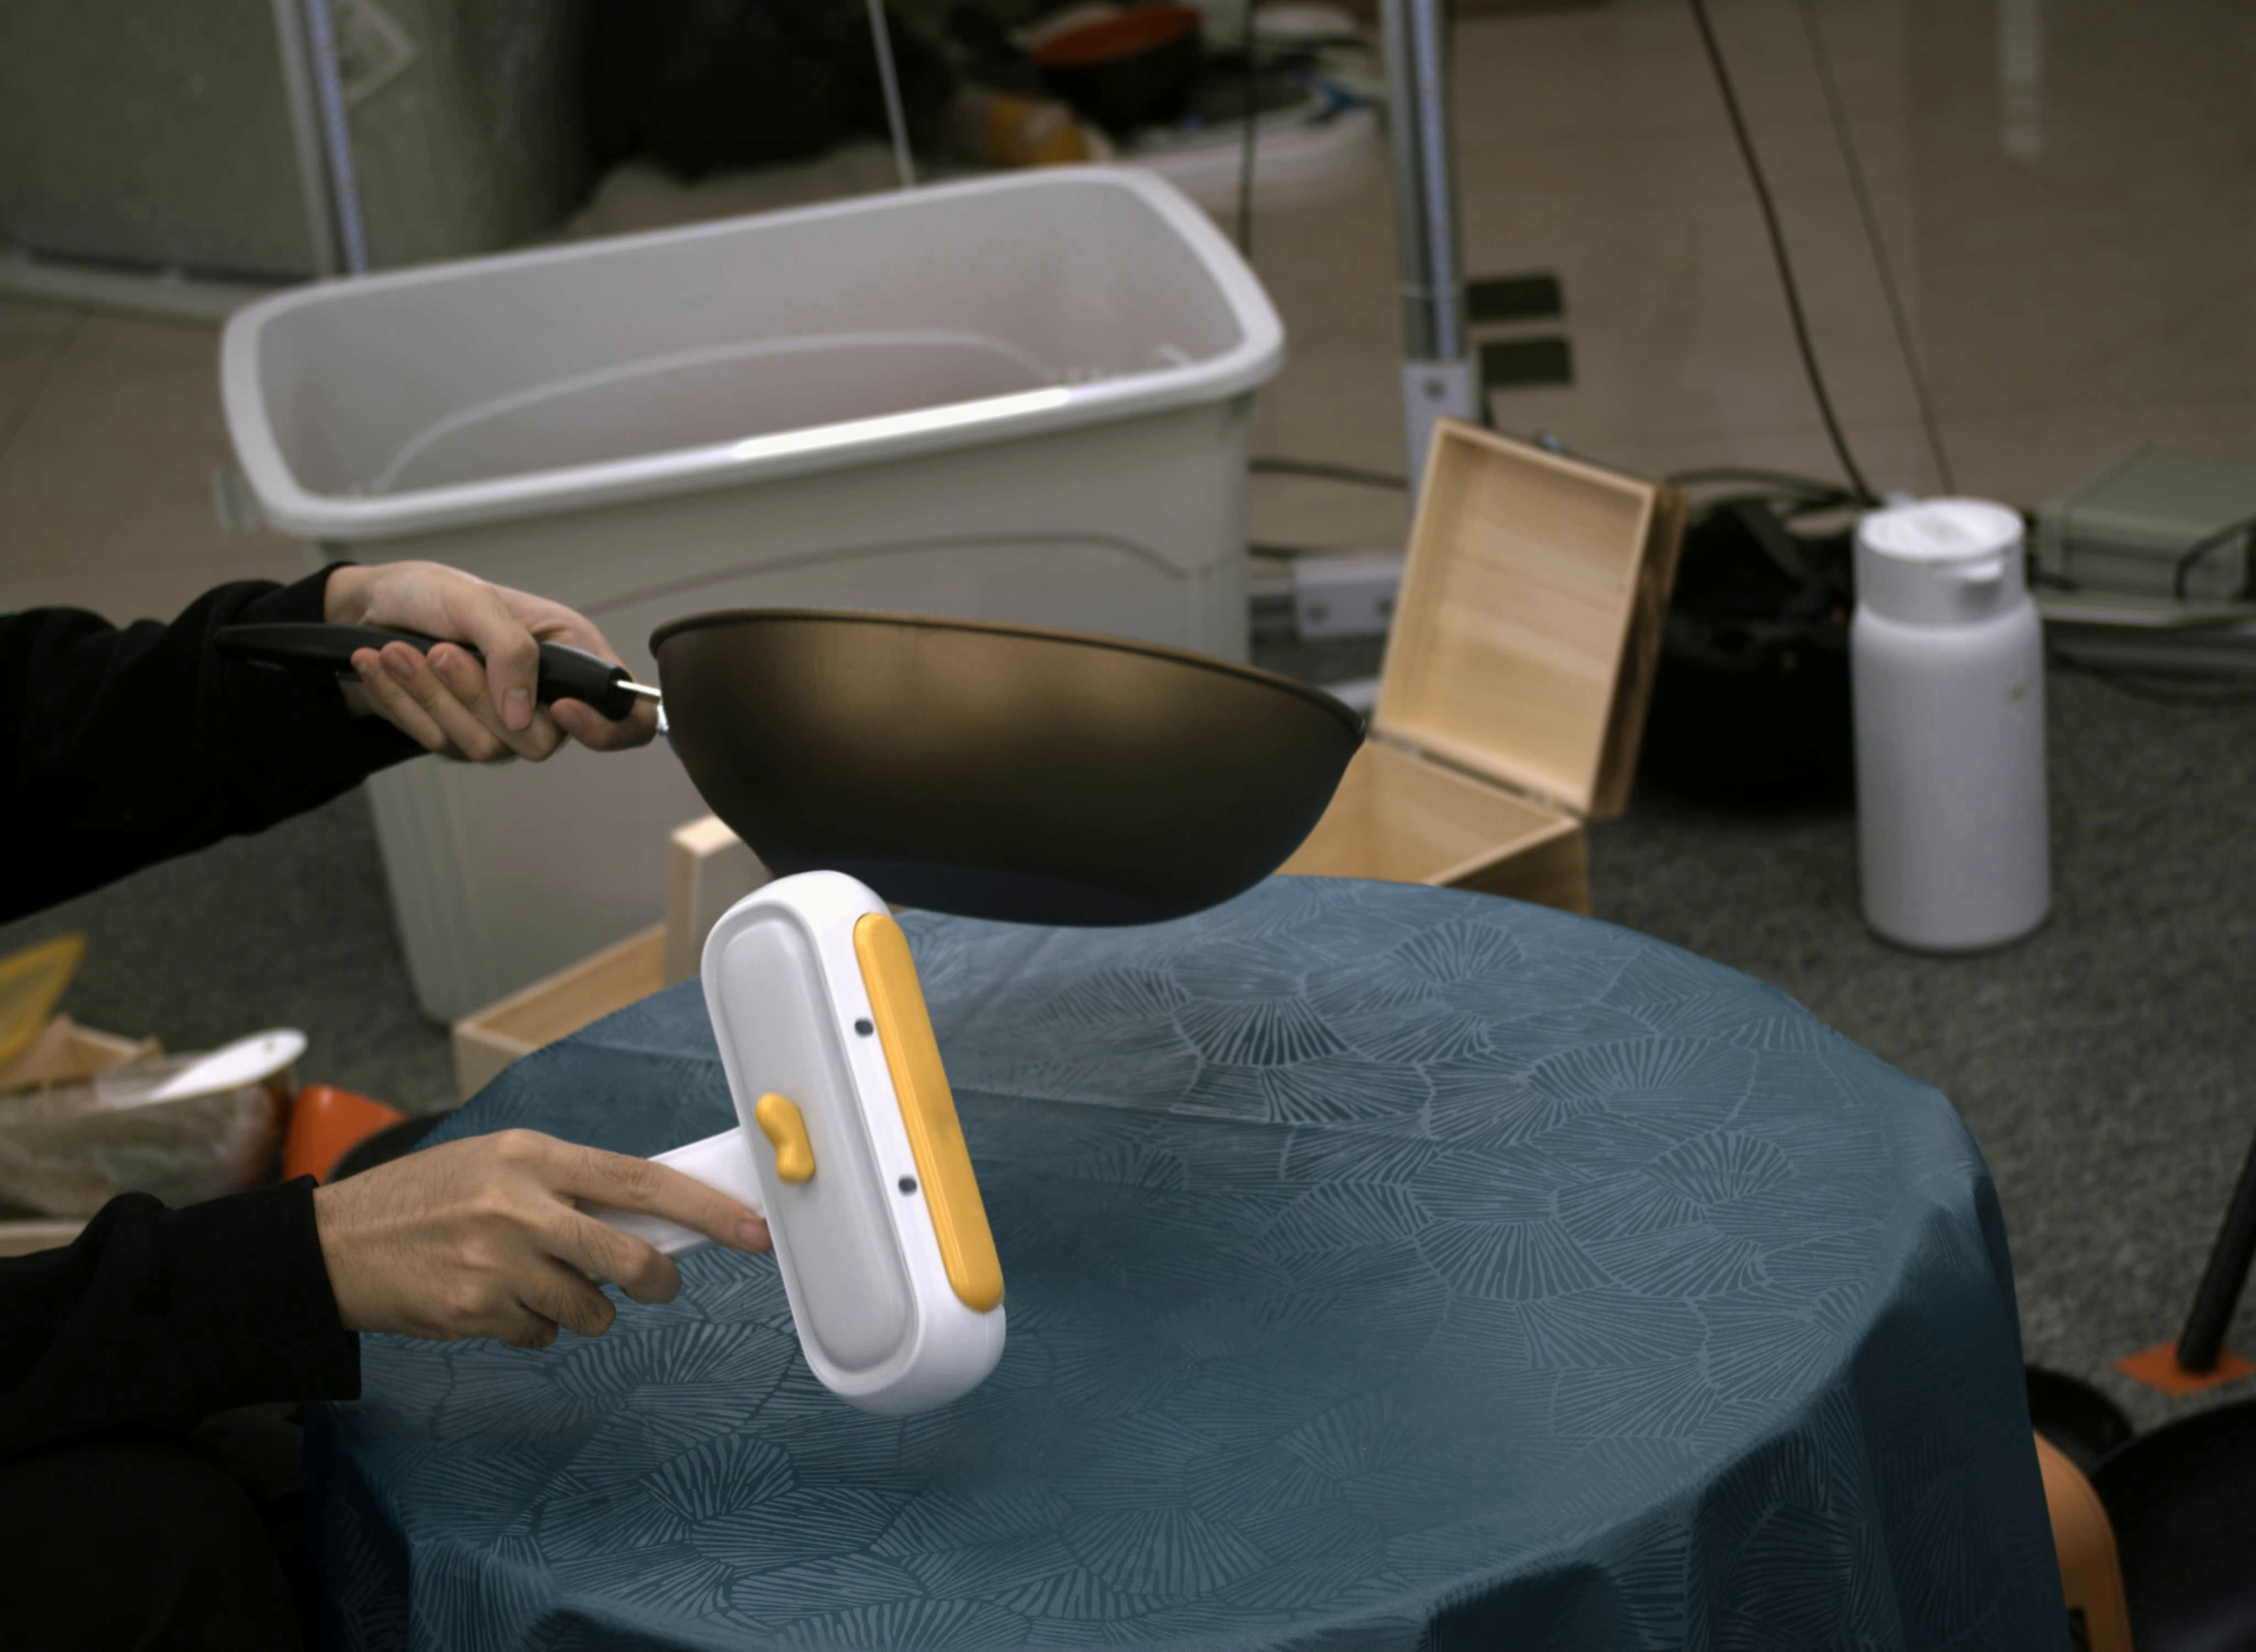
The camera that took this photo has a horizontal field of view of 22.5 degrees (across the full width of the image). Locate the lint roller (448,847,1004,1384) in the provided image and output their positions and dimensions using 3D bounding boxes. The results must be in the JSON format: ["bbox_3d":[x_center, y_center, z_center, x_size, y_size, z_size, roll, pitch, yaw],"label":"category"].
[{"bbox_3d":[-0.150,0.125,1.990,0.193,0.192,0.074,-27,-12,23],"label":"lint roller"}]

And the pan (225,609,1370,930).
[{"bbox_3d":[-0.139,-0.022,2.180,0.462,0.086,0.290,5,-9,14],"label":"pan"}]
